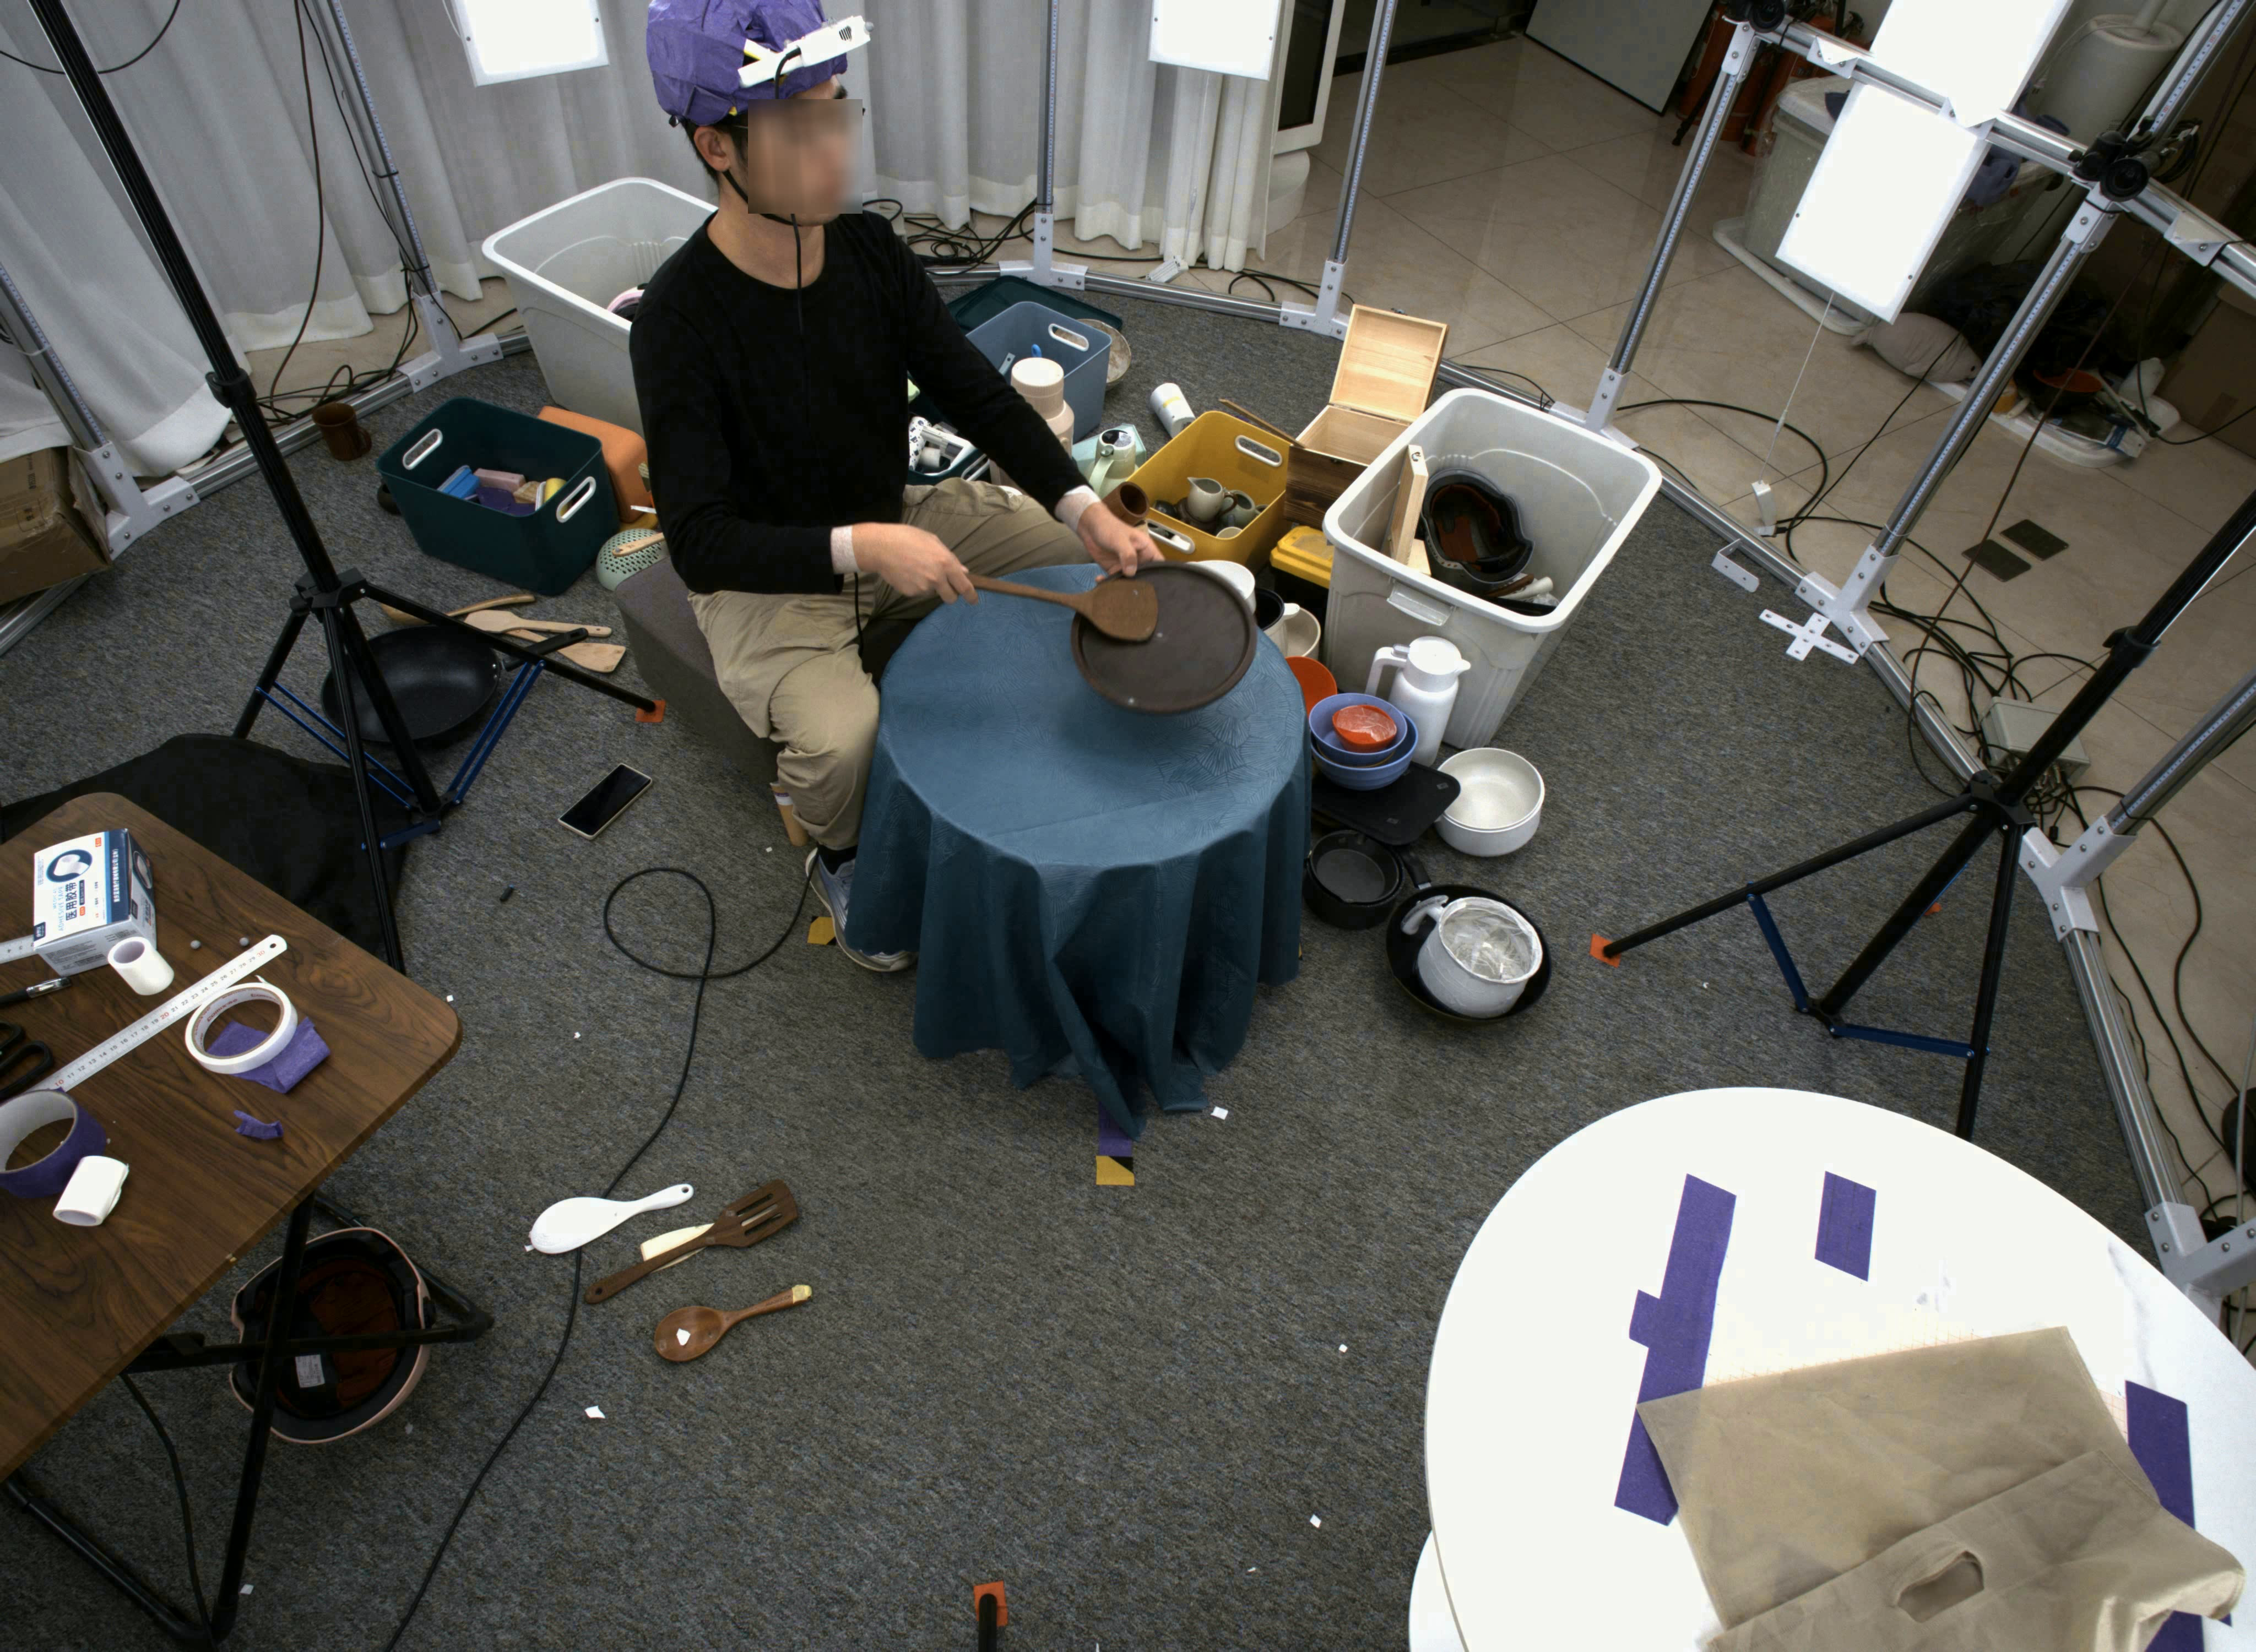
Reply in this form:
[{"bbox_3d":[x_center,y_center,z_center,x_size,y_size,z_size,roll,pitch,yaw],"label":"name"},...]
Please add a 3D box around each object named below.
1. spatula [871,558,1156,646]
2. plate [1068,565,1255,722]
[{"bbox_3d":[-0.149,-0.313,1.732,0.384,0.015,0.098,9,65,-11],"label":"spatula"},{"bbox_3d":[0.045,-0.250,1.746,0.255,0.028,0.260,-2,62,3],"label":"plate"}]
